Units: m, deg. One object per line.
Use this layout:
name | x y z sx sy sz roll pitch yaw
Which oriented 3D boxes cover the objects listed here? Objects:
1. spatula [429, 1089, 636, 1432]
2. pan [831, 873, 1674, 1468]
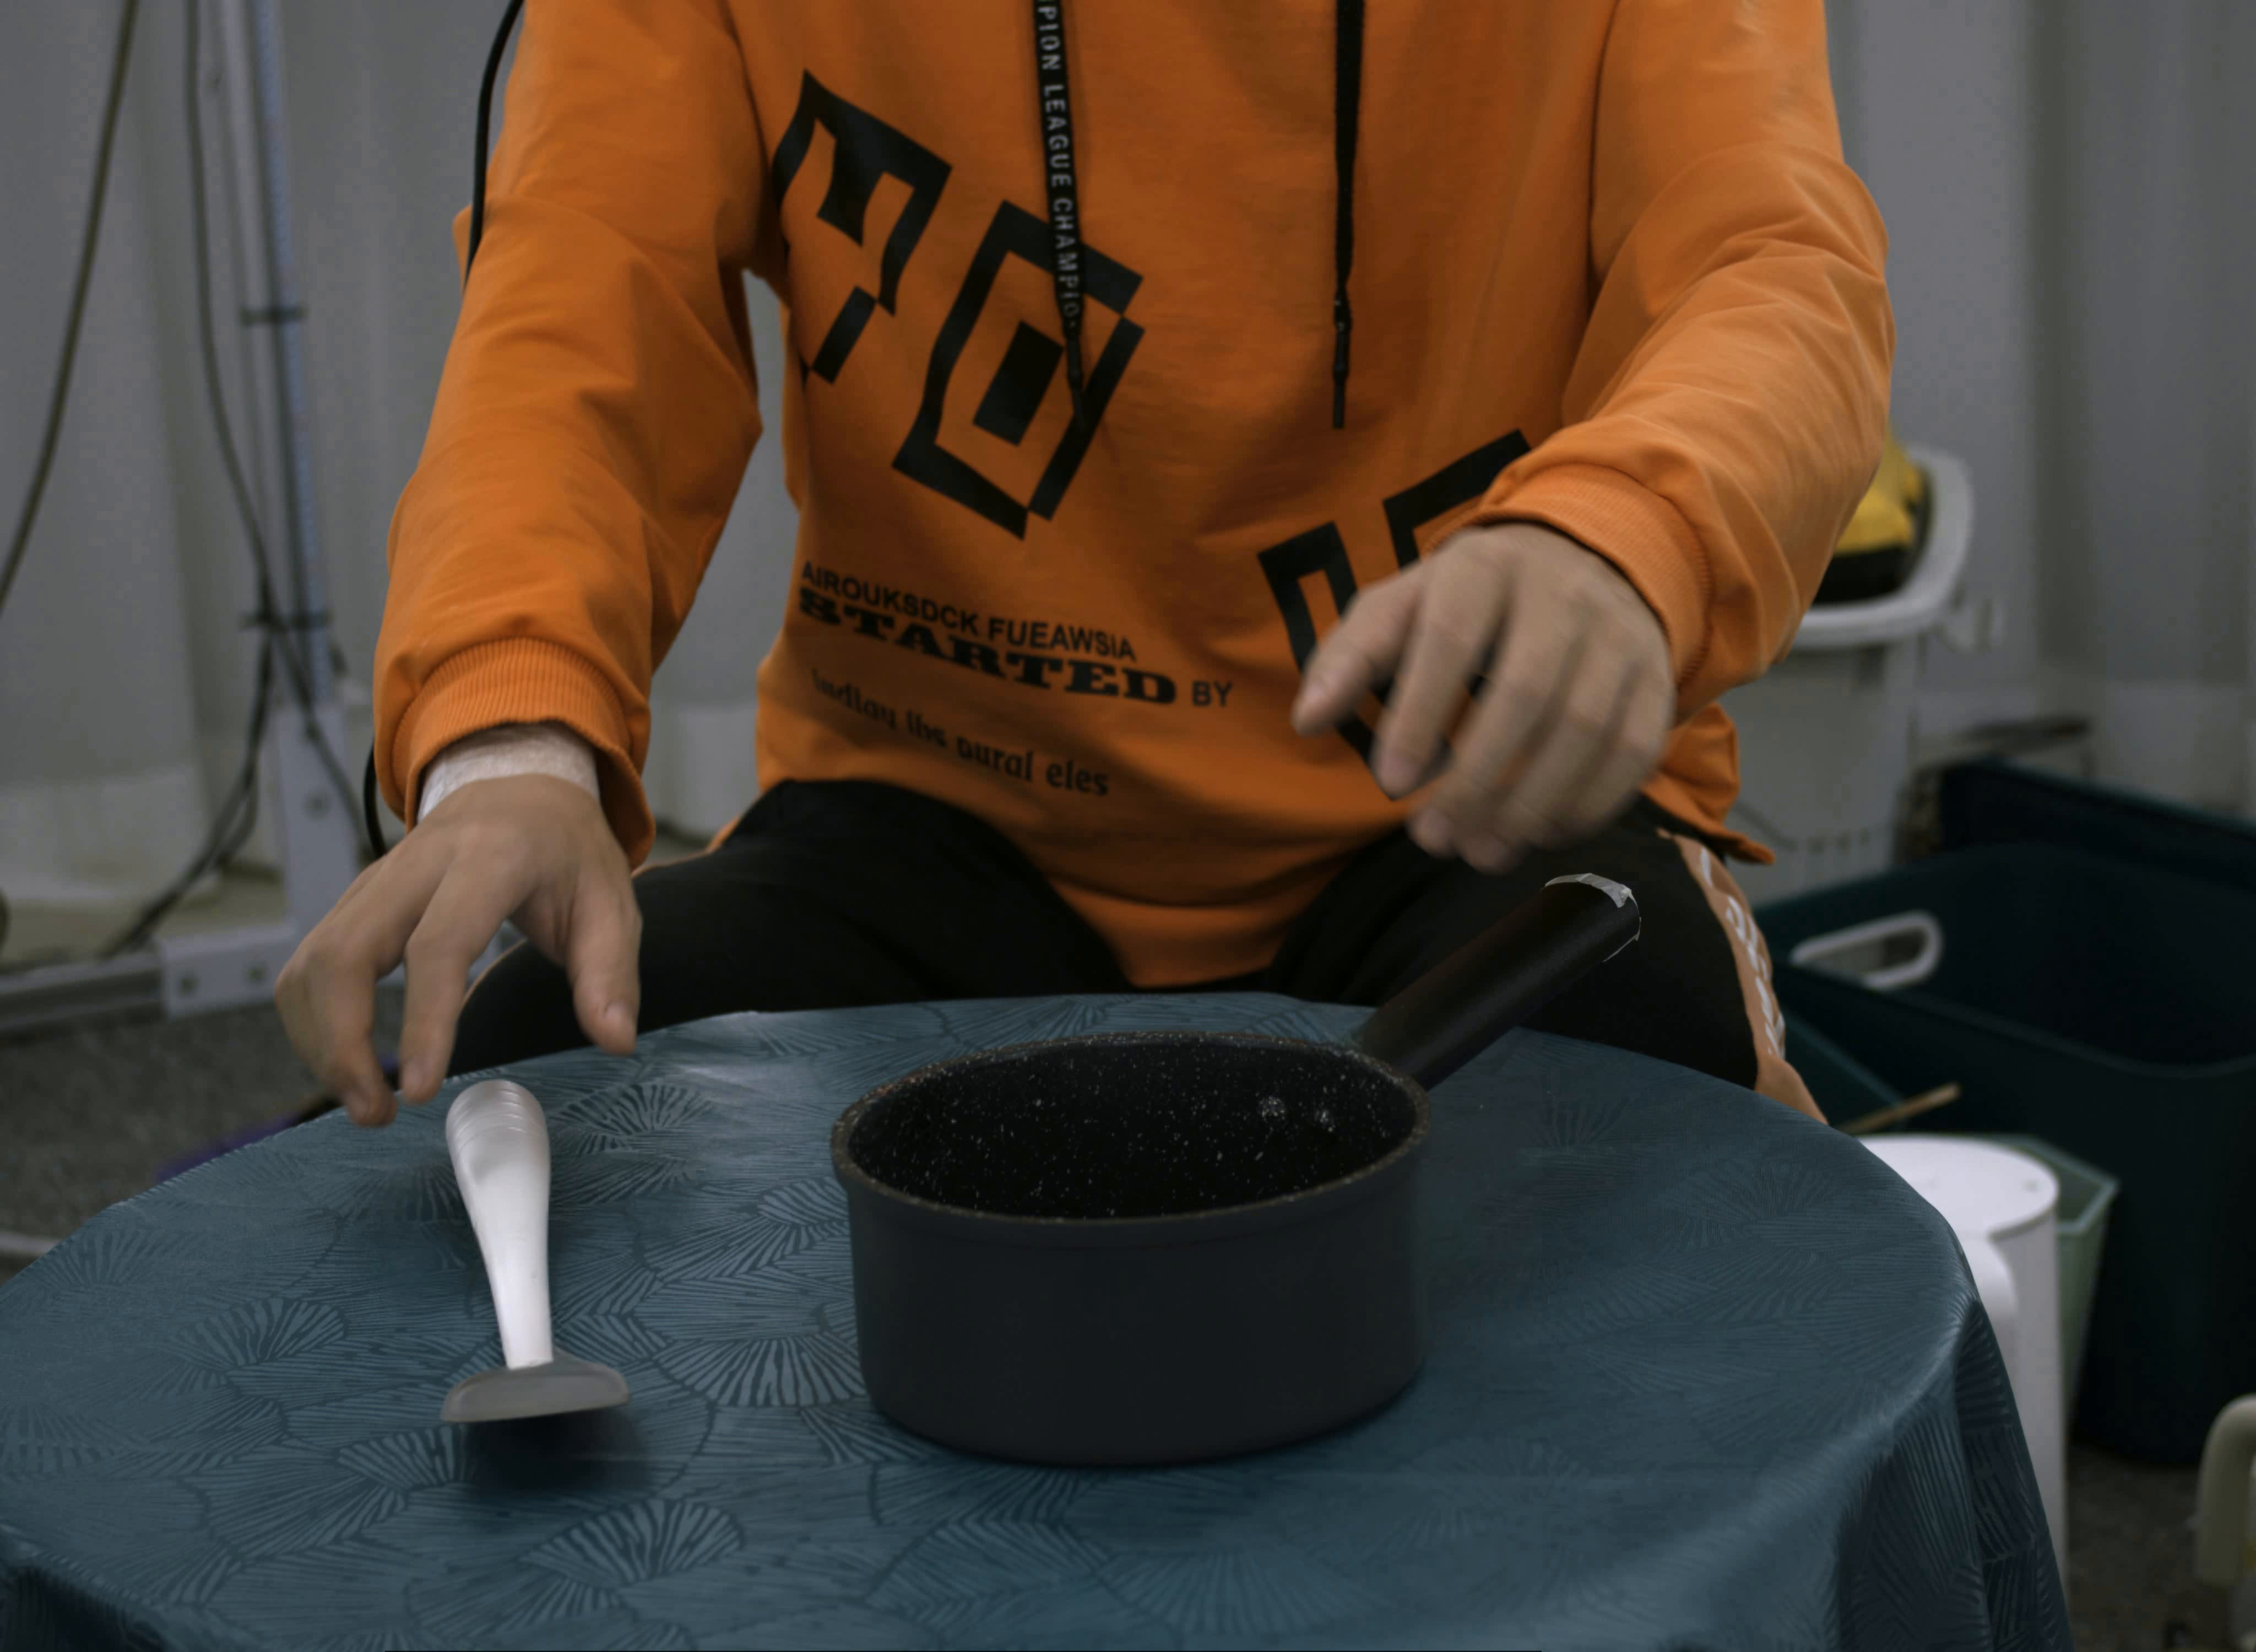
spatula | -0.181 0.134 1.618 0.058 0.032 0.290 -1 14 -9
pan | 0.054 0.097 1.609 0.173 0.086 0.328 11 22 39
